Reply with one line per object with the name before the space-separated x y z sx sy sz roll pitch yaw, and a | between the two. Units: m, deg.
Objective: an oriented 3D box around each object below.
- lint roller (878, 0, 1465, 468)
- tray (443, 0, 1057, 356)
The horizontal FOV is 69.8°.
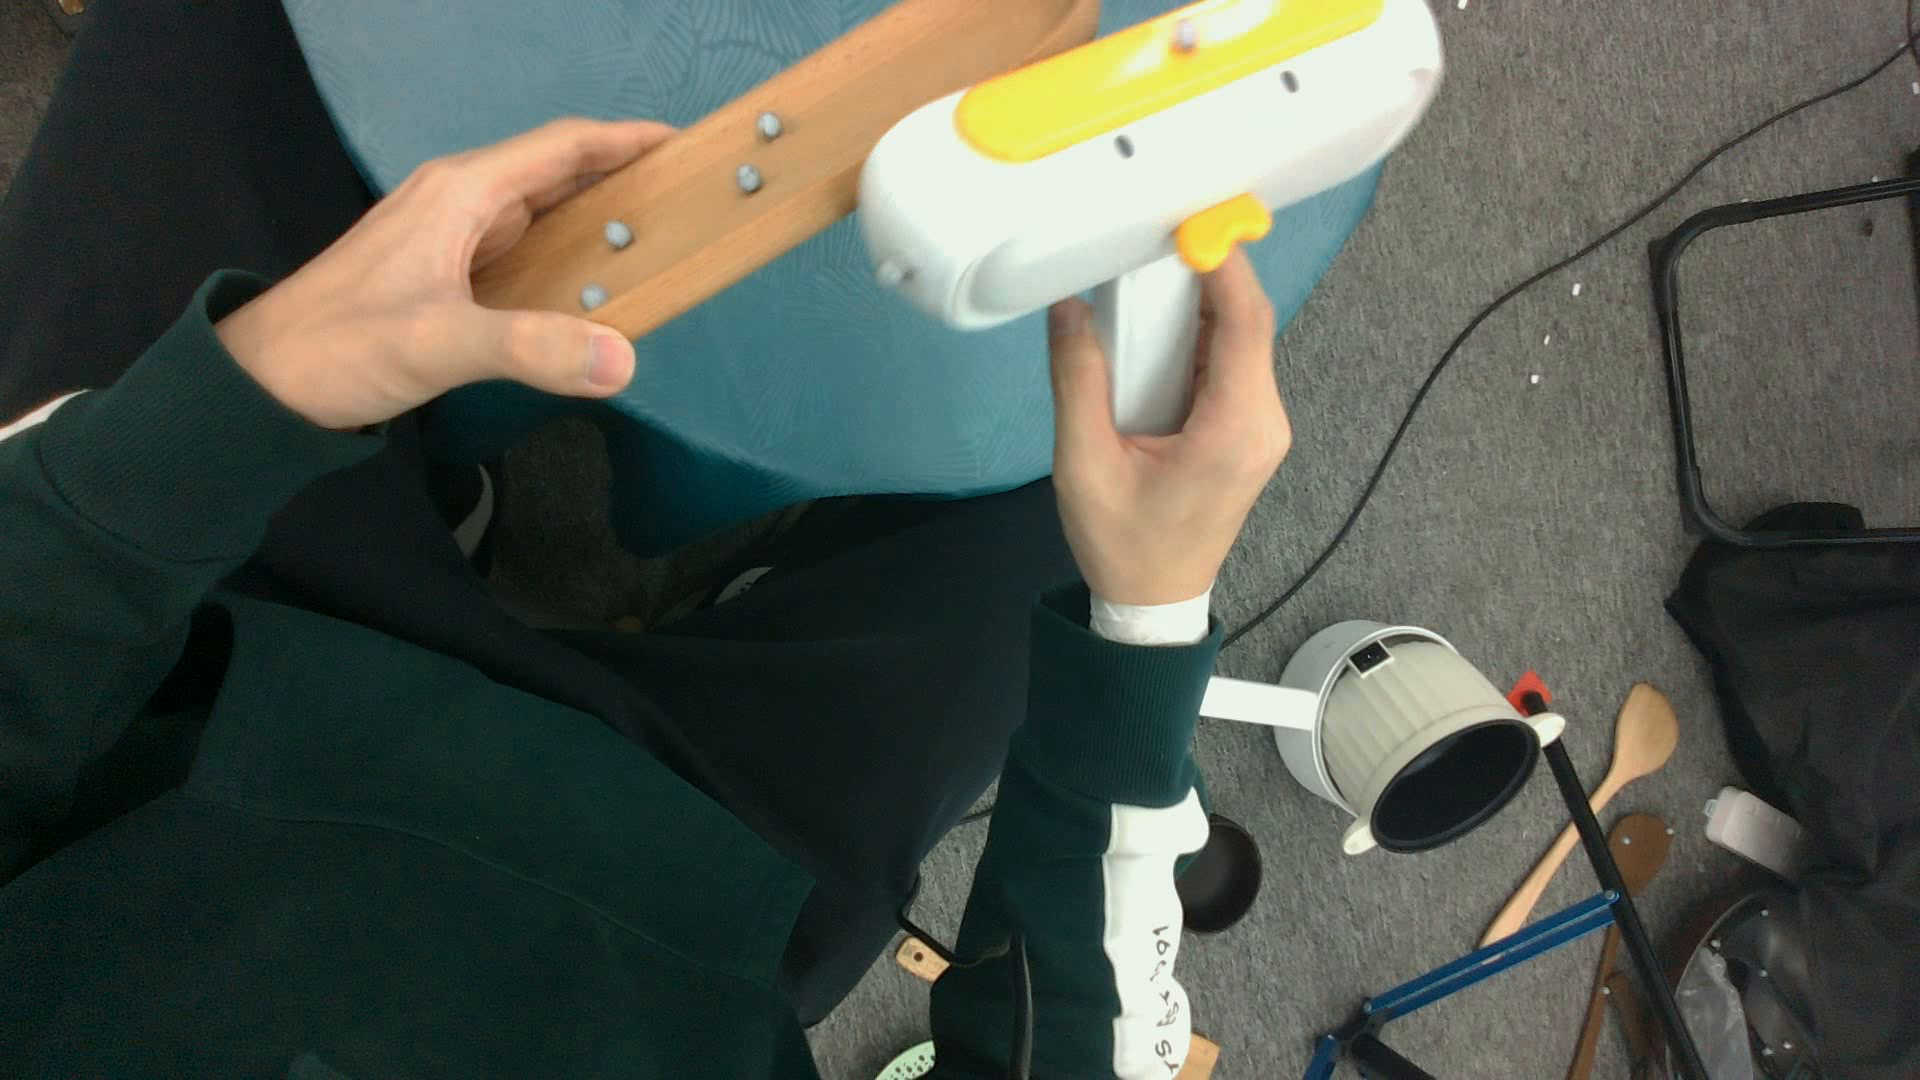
lint roller | 0.065 -0.097 0.467 0.193 0.191 0.074 -25 67 -20
tray | -0.065 -0.132 0.442 0.231 0.102 0.020 -34 128 -5
